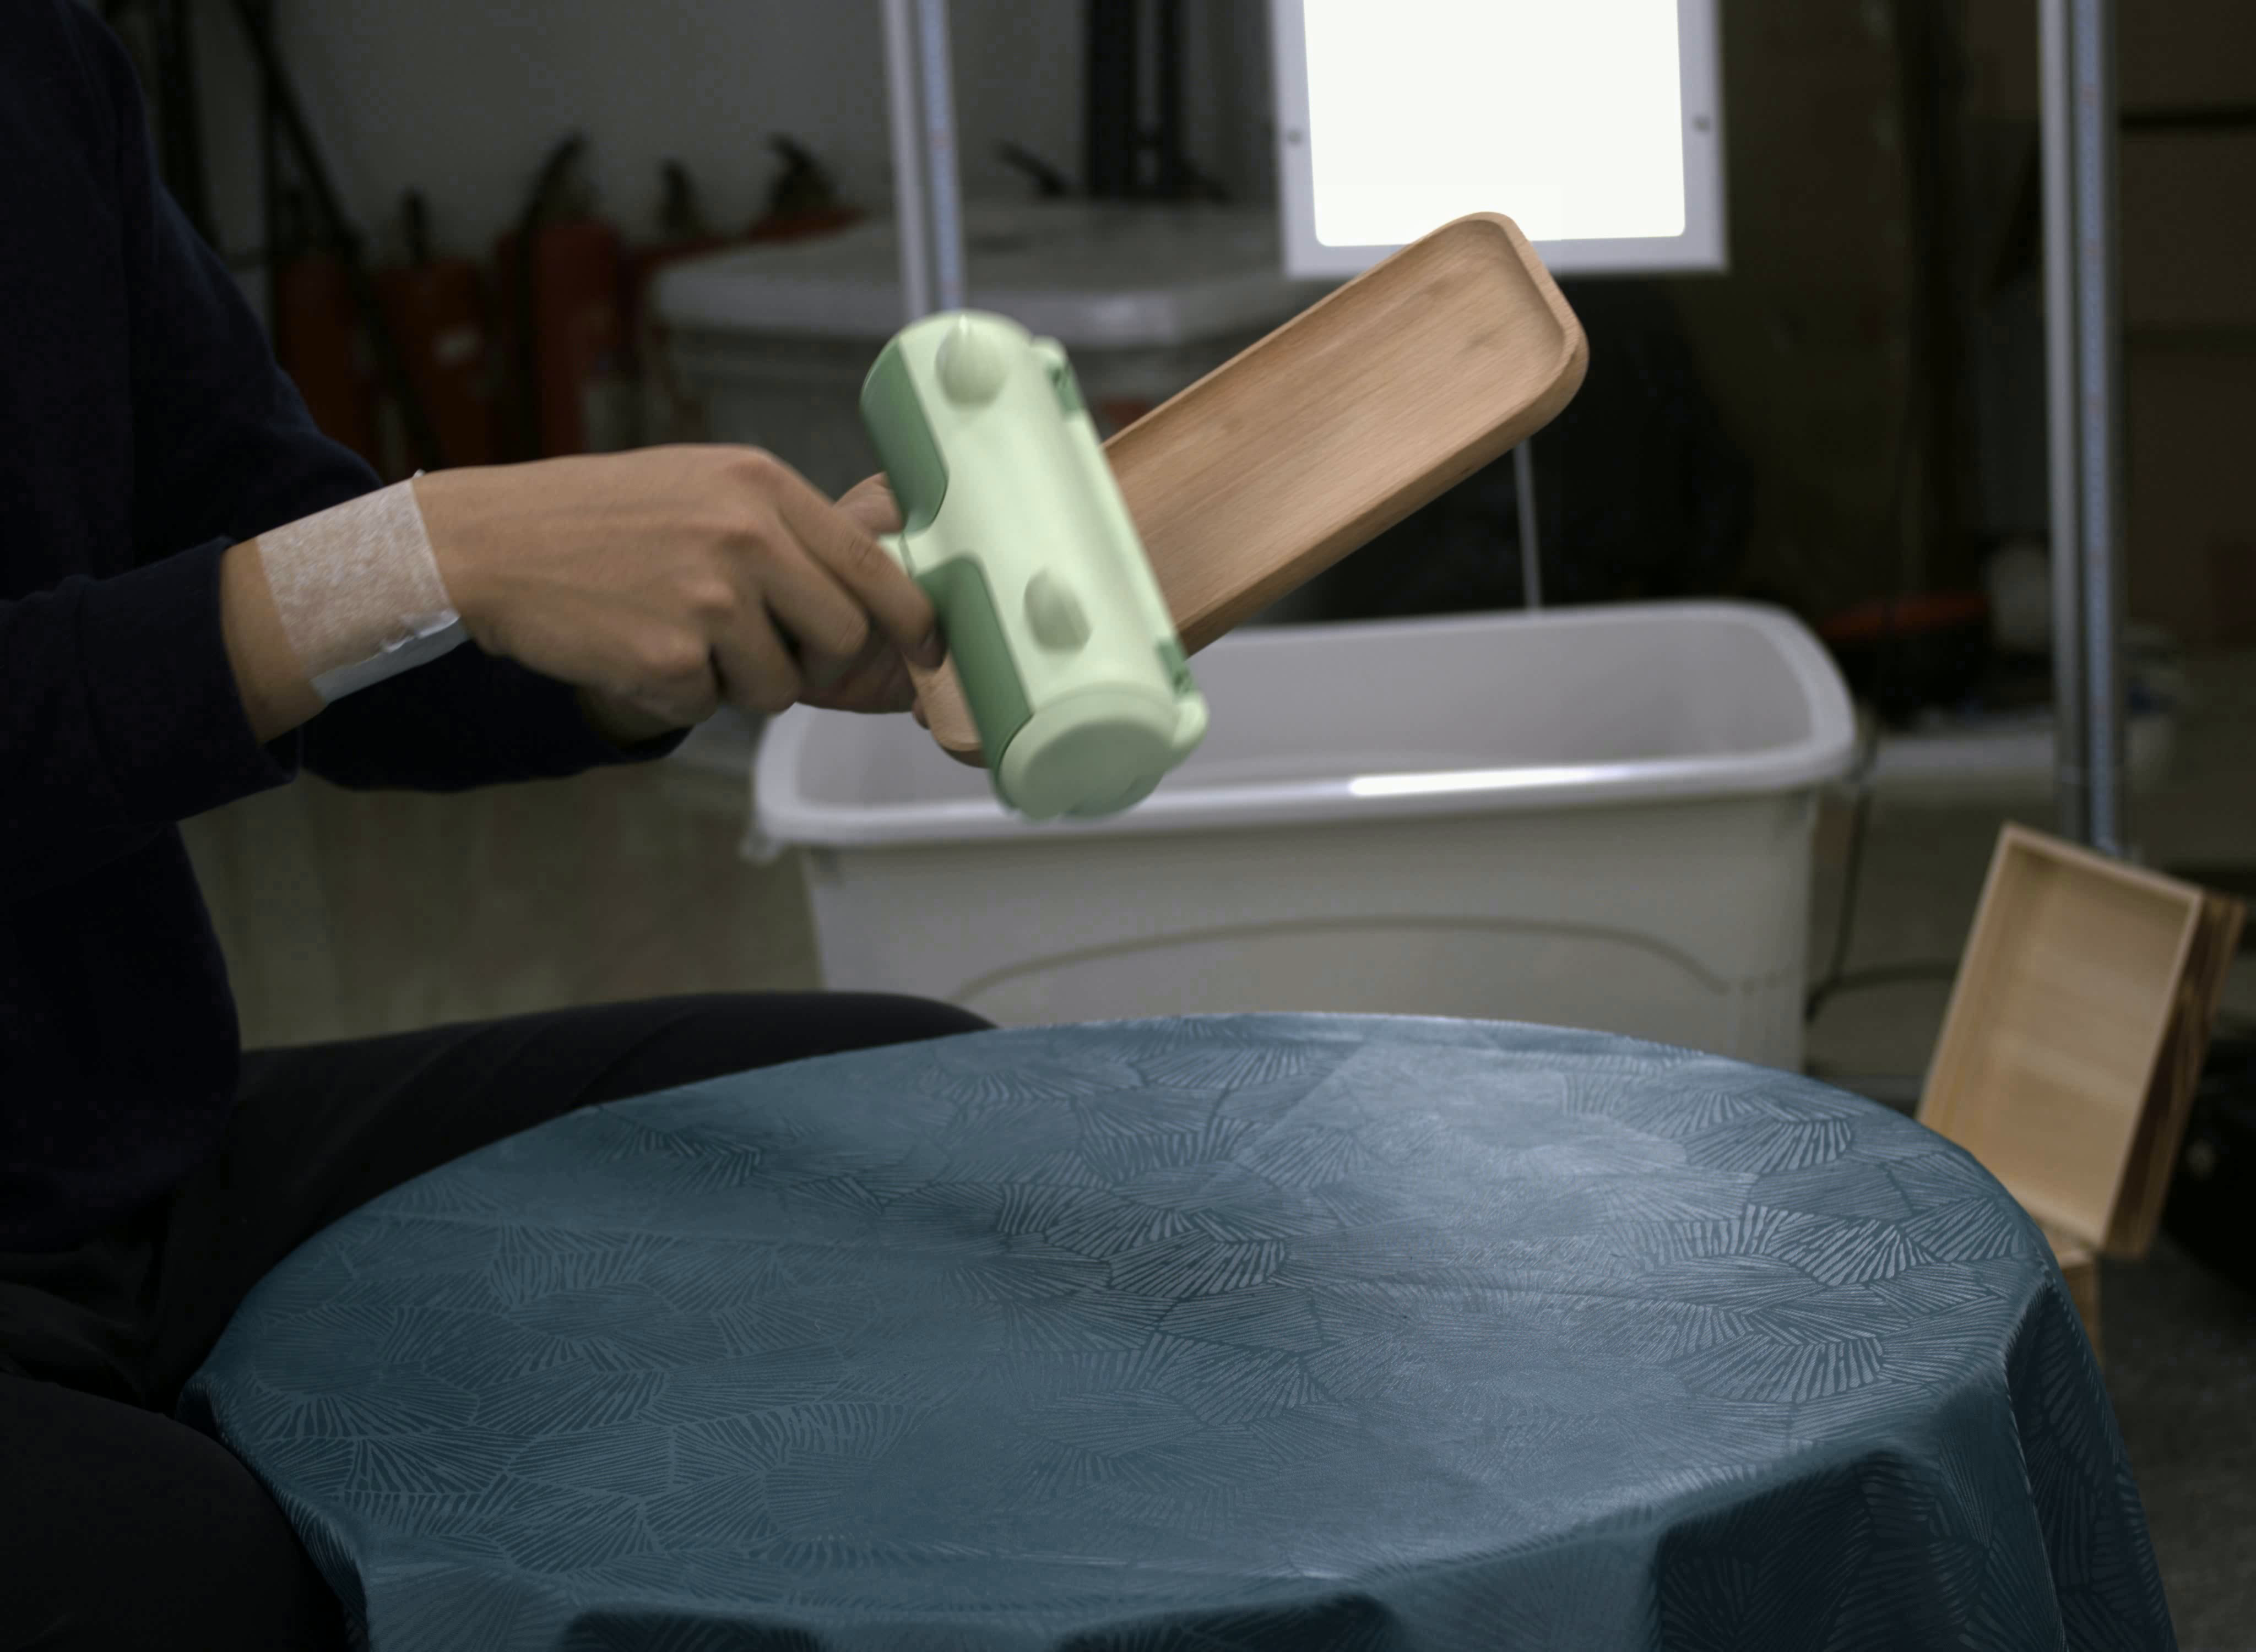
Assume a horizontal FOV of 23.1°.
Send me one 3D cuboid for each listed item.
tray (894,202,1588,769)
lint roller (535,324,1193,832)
[{"bbox_3d":[0.036,-0.111,1.810,0.252,0.022,0.131,-34,32,10],"label":"tray"},{"bbox_3d":[-0.089,-0.086,1.706,0.180,0.083,0.199,0,43,-20],"label":"lint roller"}]
